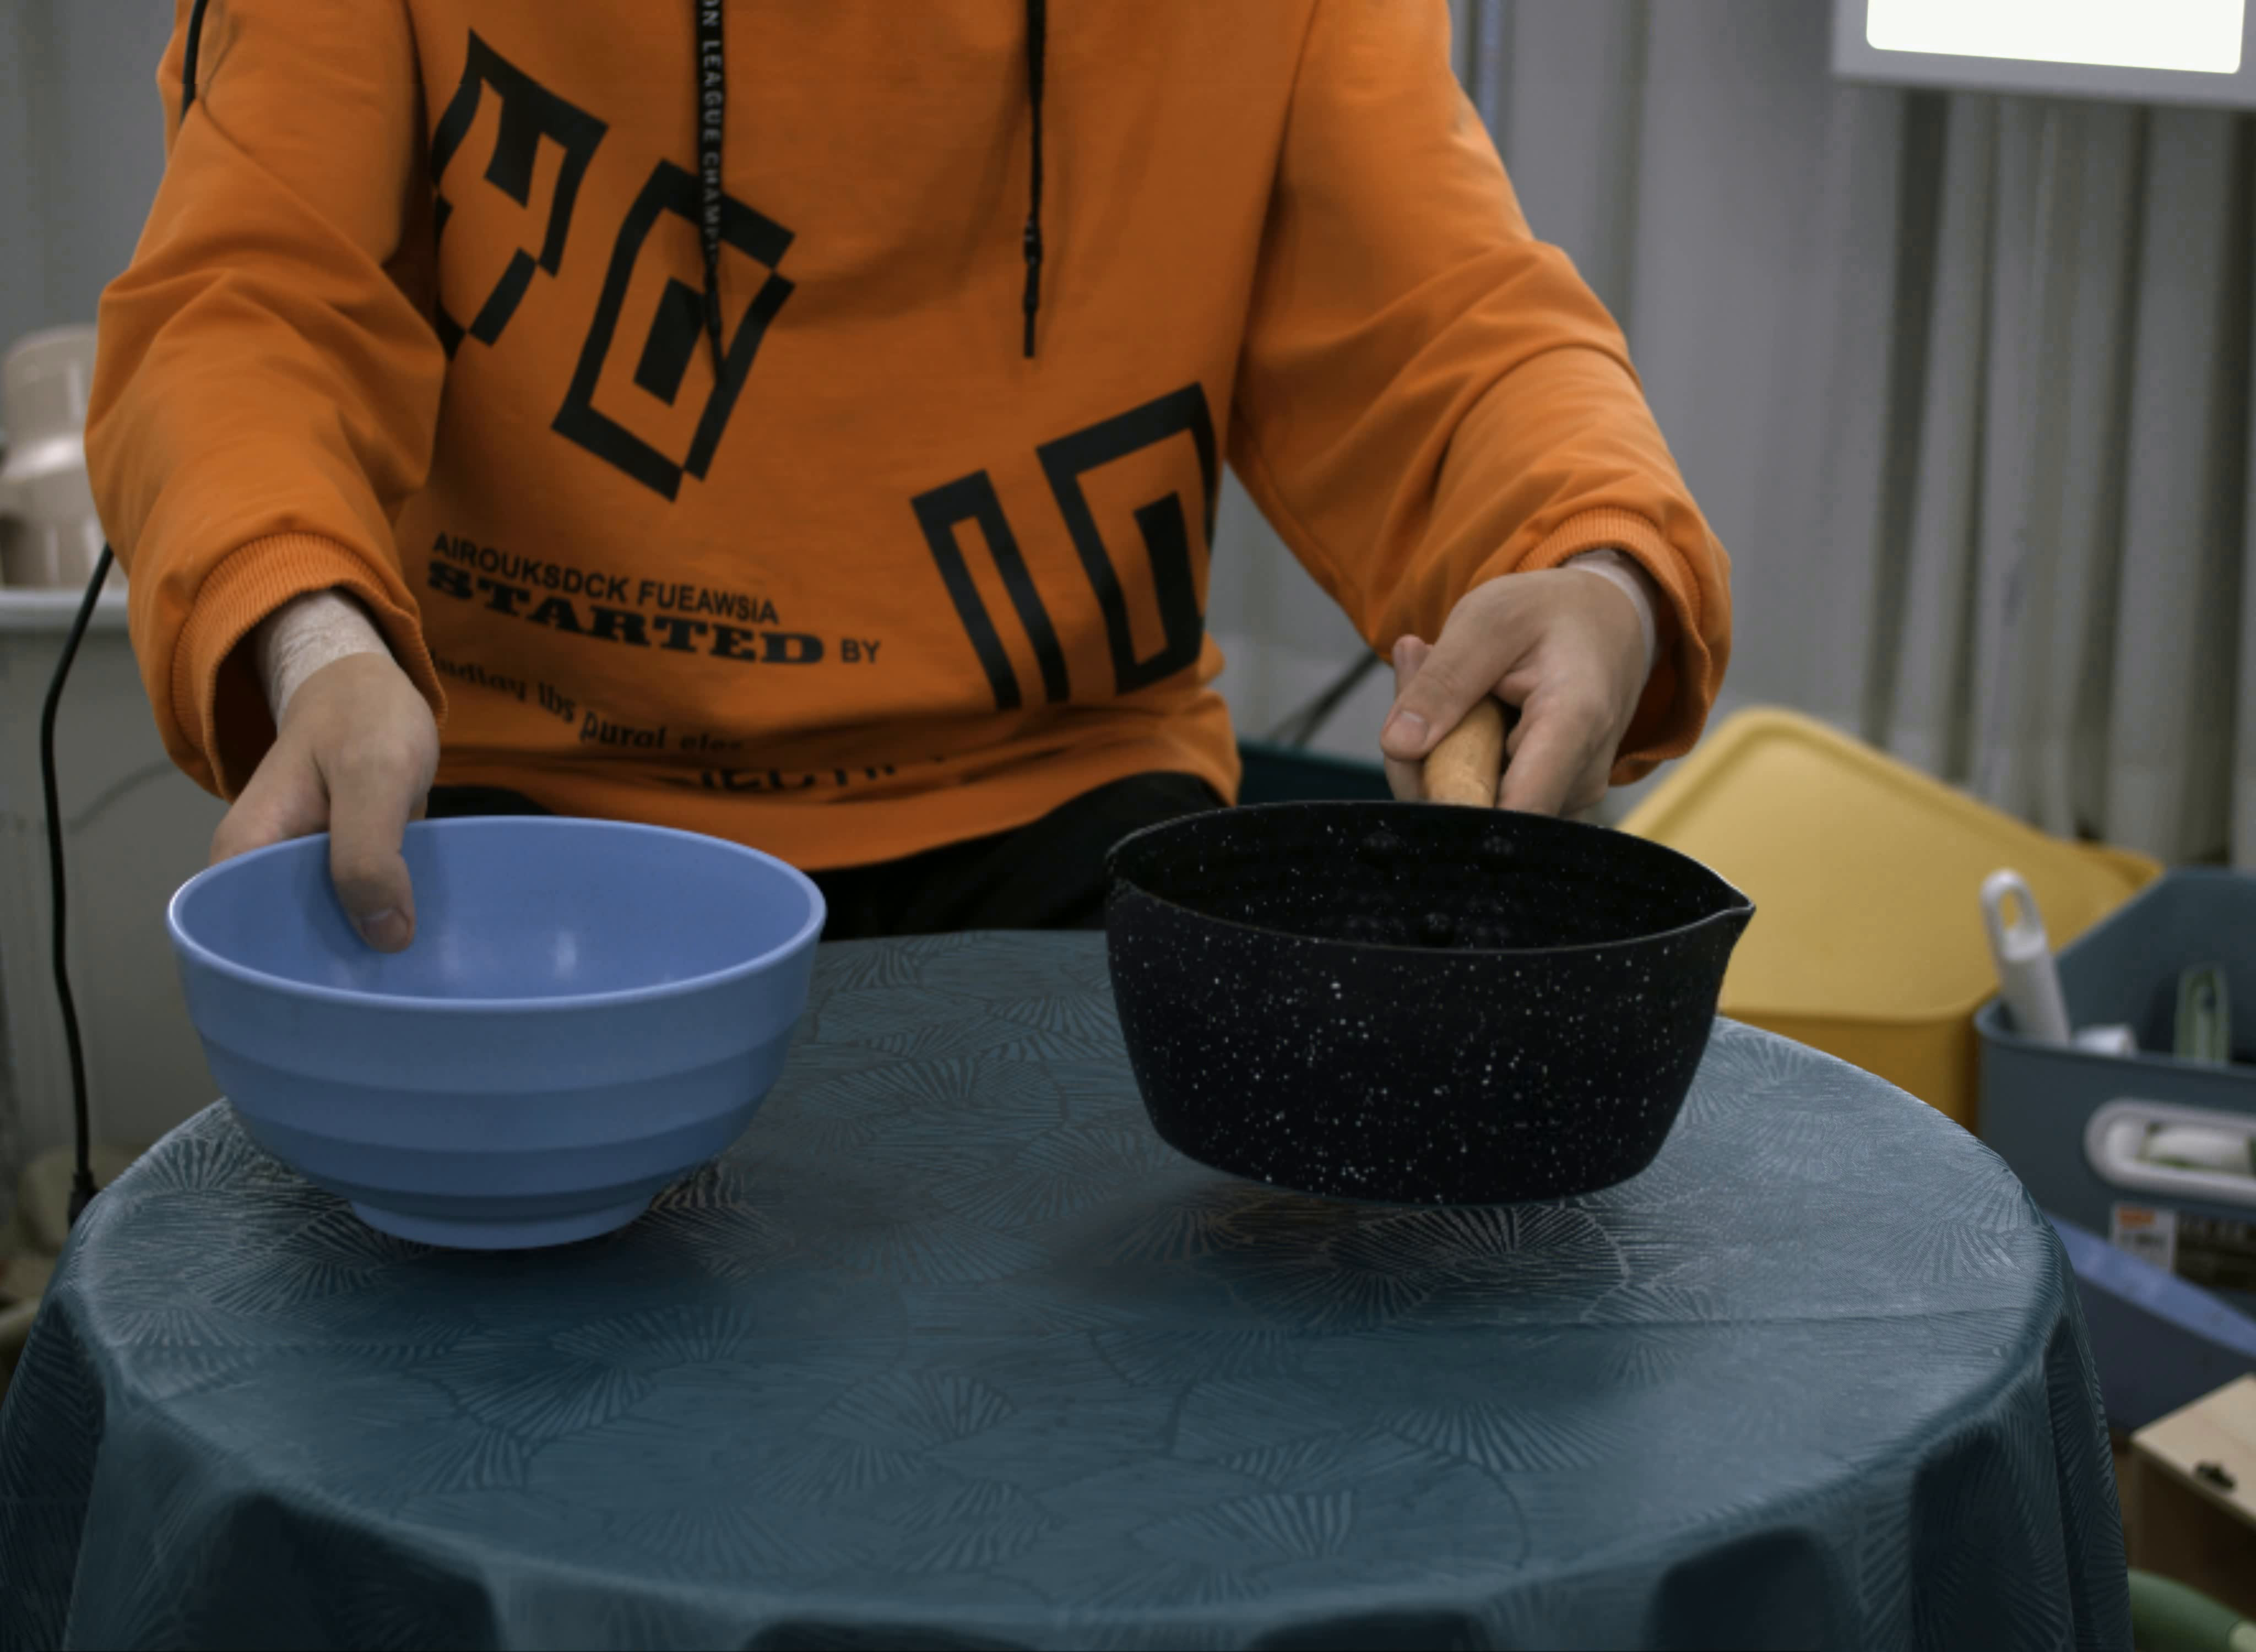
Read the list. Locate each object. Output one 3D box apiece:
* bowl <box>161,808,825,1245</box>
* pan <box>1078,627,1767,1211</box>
[{"bbox_3d":[-0.189,0.065,1.578,0.196,0.096,0.195,1,17,0],"label":"bowl"},{"bbox_3d":[0.094,0.024,1.648,0.206,0.109,0.342,3,14,6],"label":"pan"}]
